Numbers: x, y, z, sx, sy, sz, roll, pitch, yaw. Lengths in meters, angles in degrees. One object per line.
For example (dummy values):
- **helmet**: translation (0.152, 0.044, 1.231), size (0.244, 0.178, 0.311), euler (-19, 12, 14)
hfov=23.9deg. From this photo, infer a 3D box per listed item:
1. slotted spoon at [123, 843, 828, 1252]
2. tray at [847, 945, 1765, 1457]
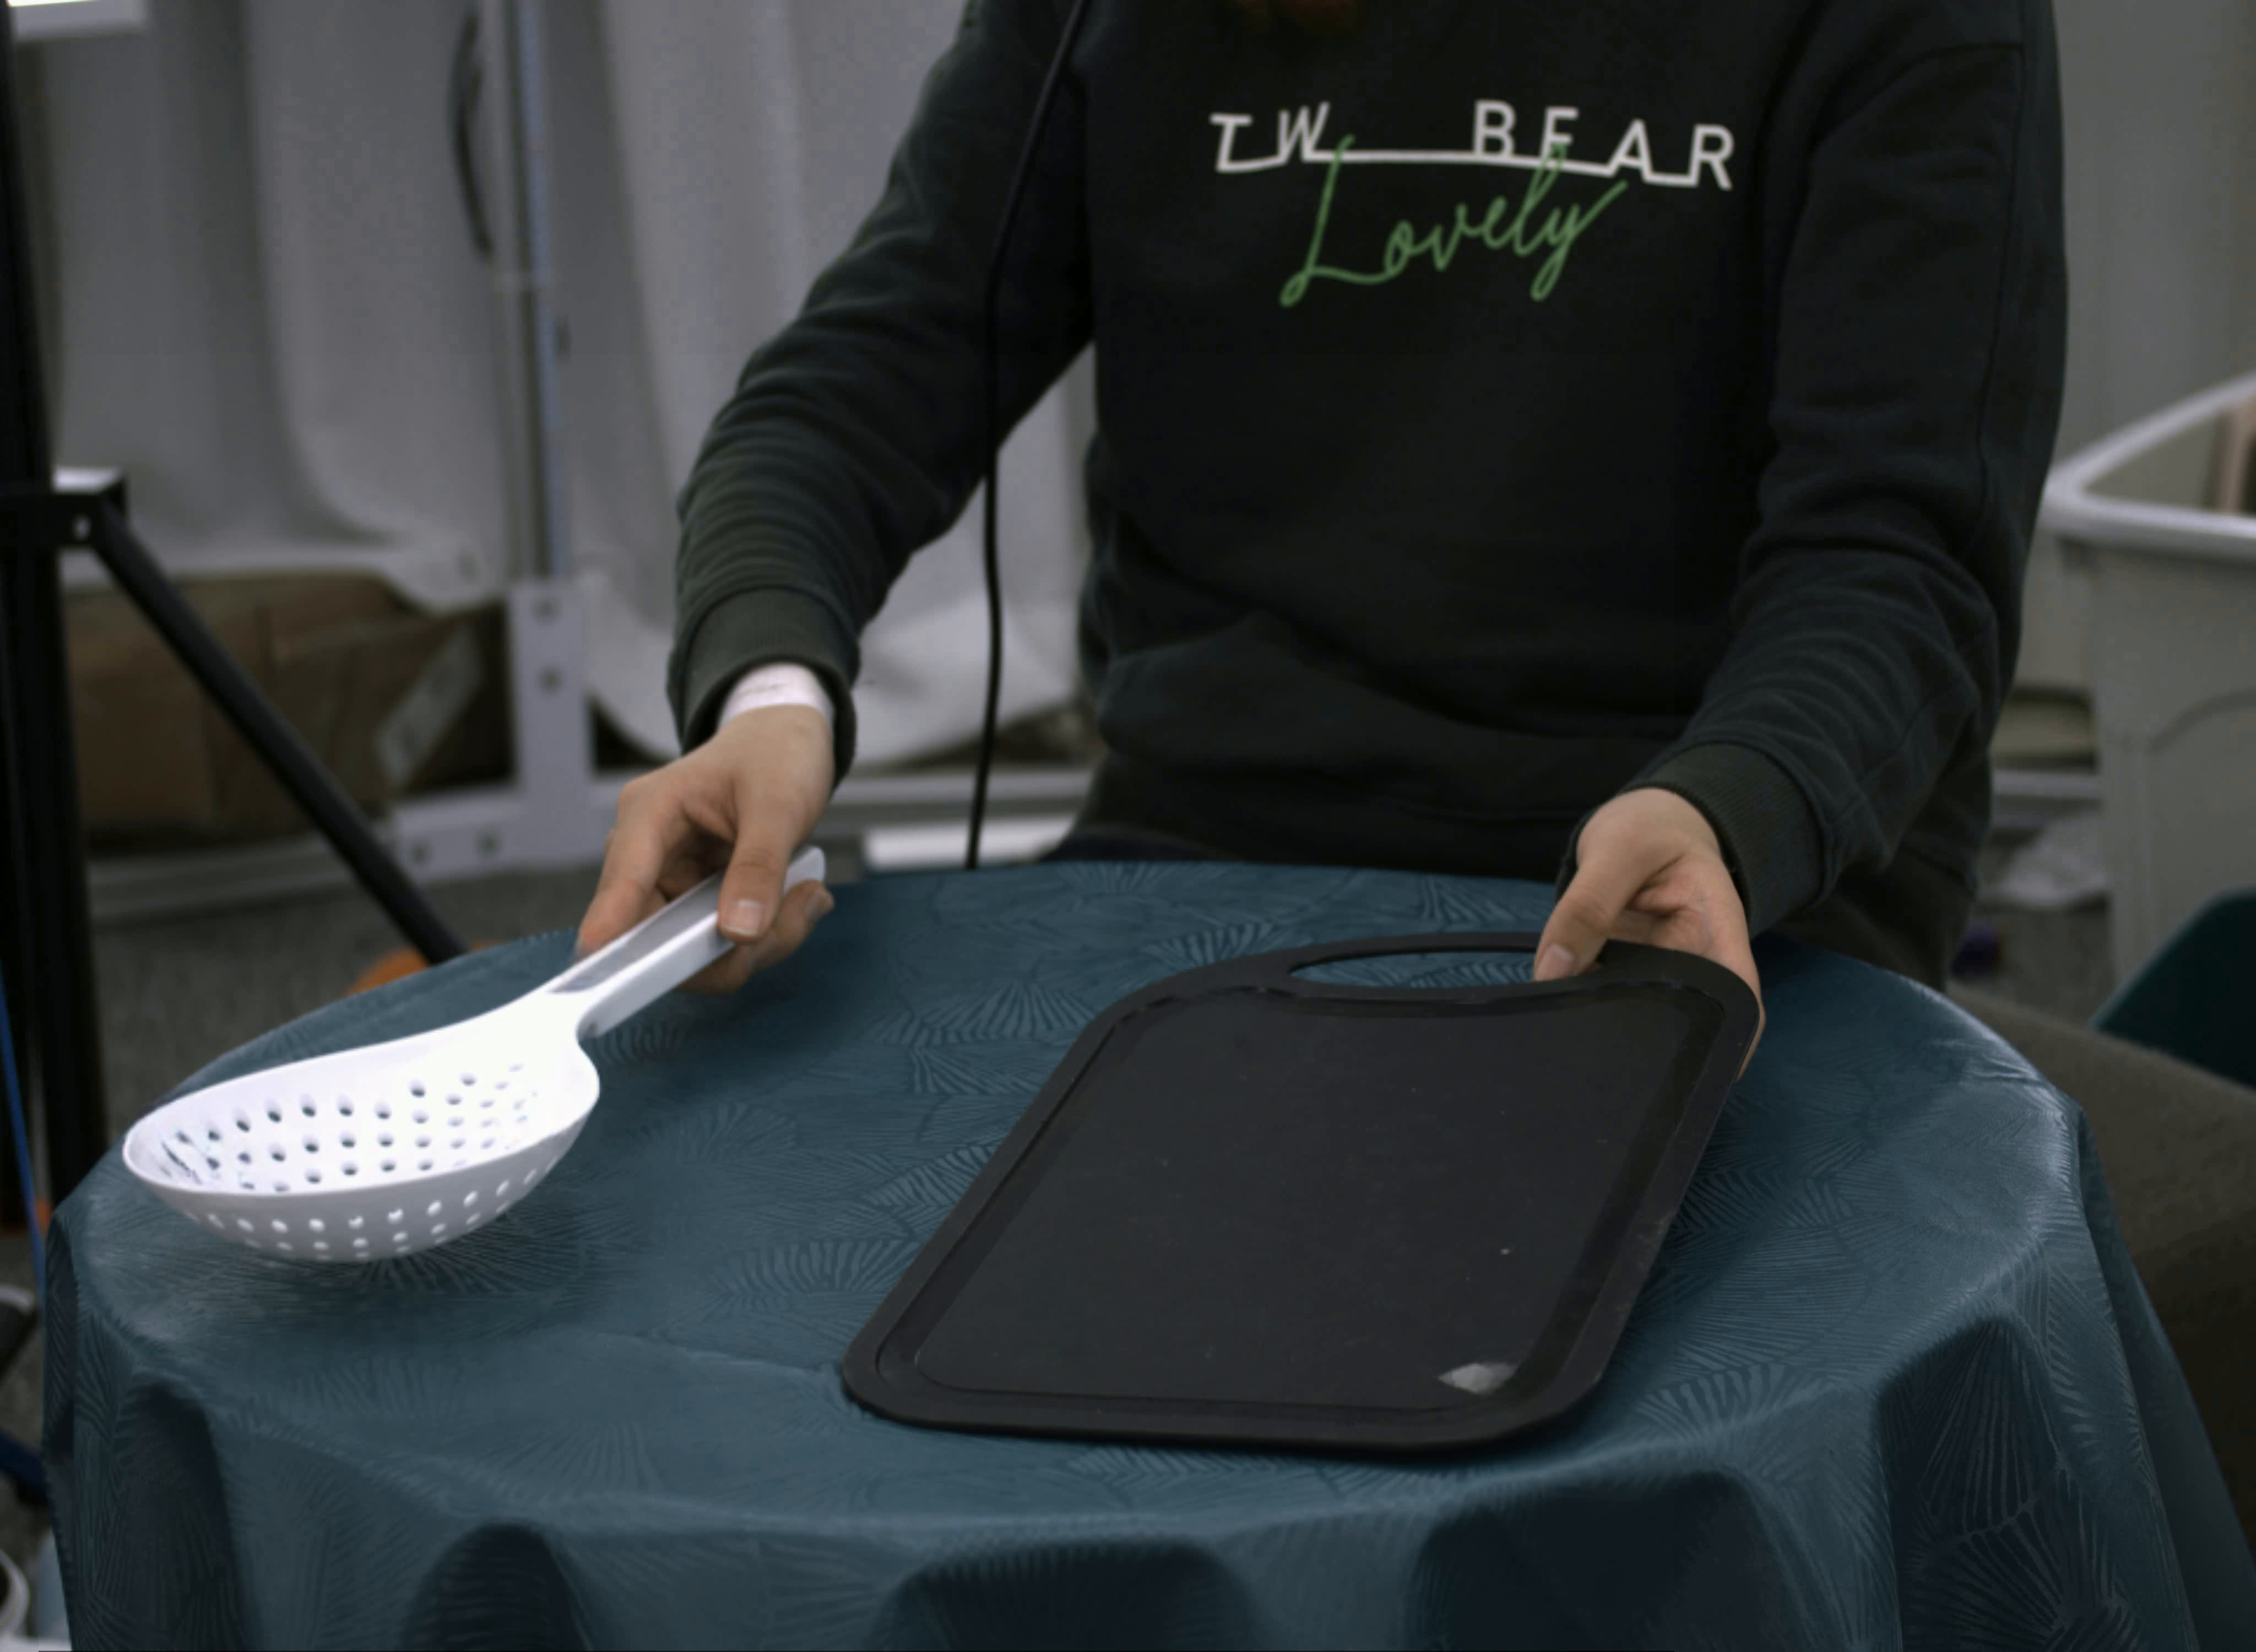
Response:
- **slotted spoon**: translation (-0.177, 0.059, 1.621), size (0.138, 0.045, 0.346), euler (1, 21, 24)
- **tray**: translation (0.058, 0.097, 1.503), size (0.213, 0.010, 0.323), euler (0, 22, 19)
